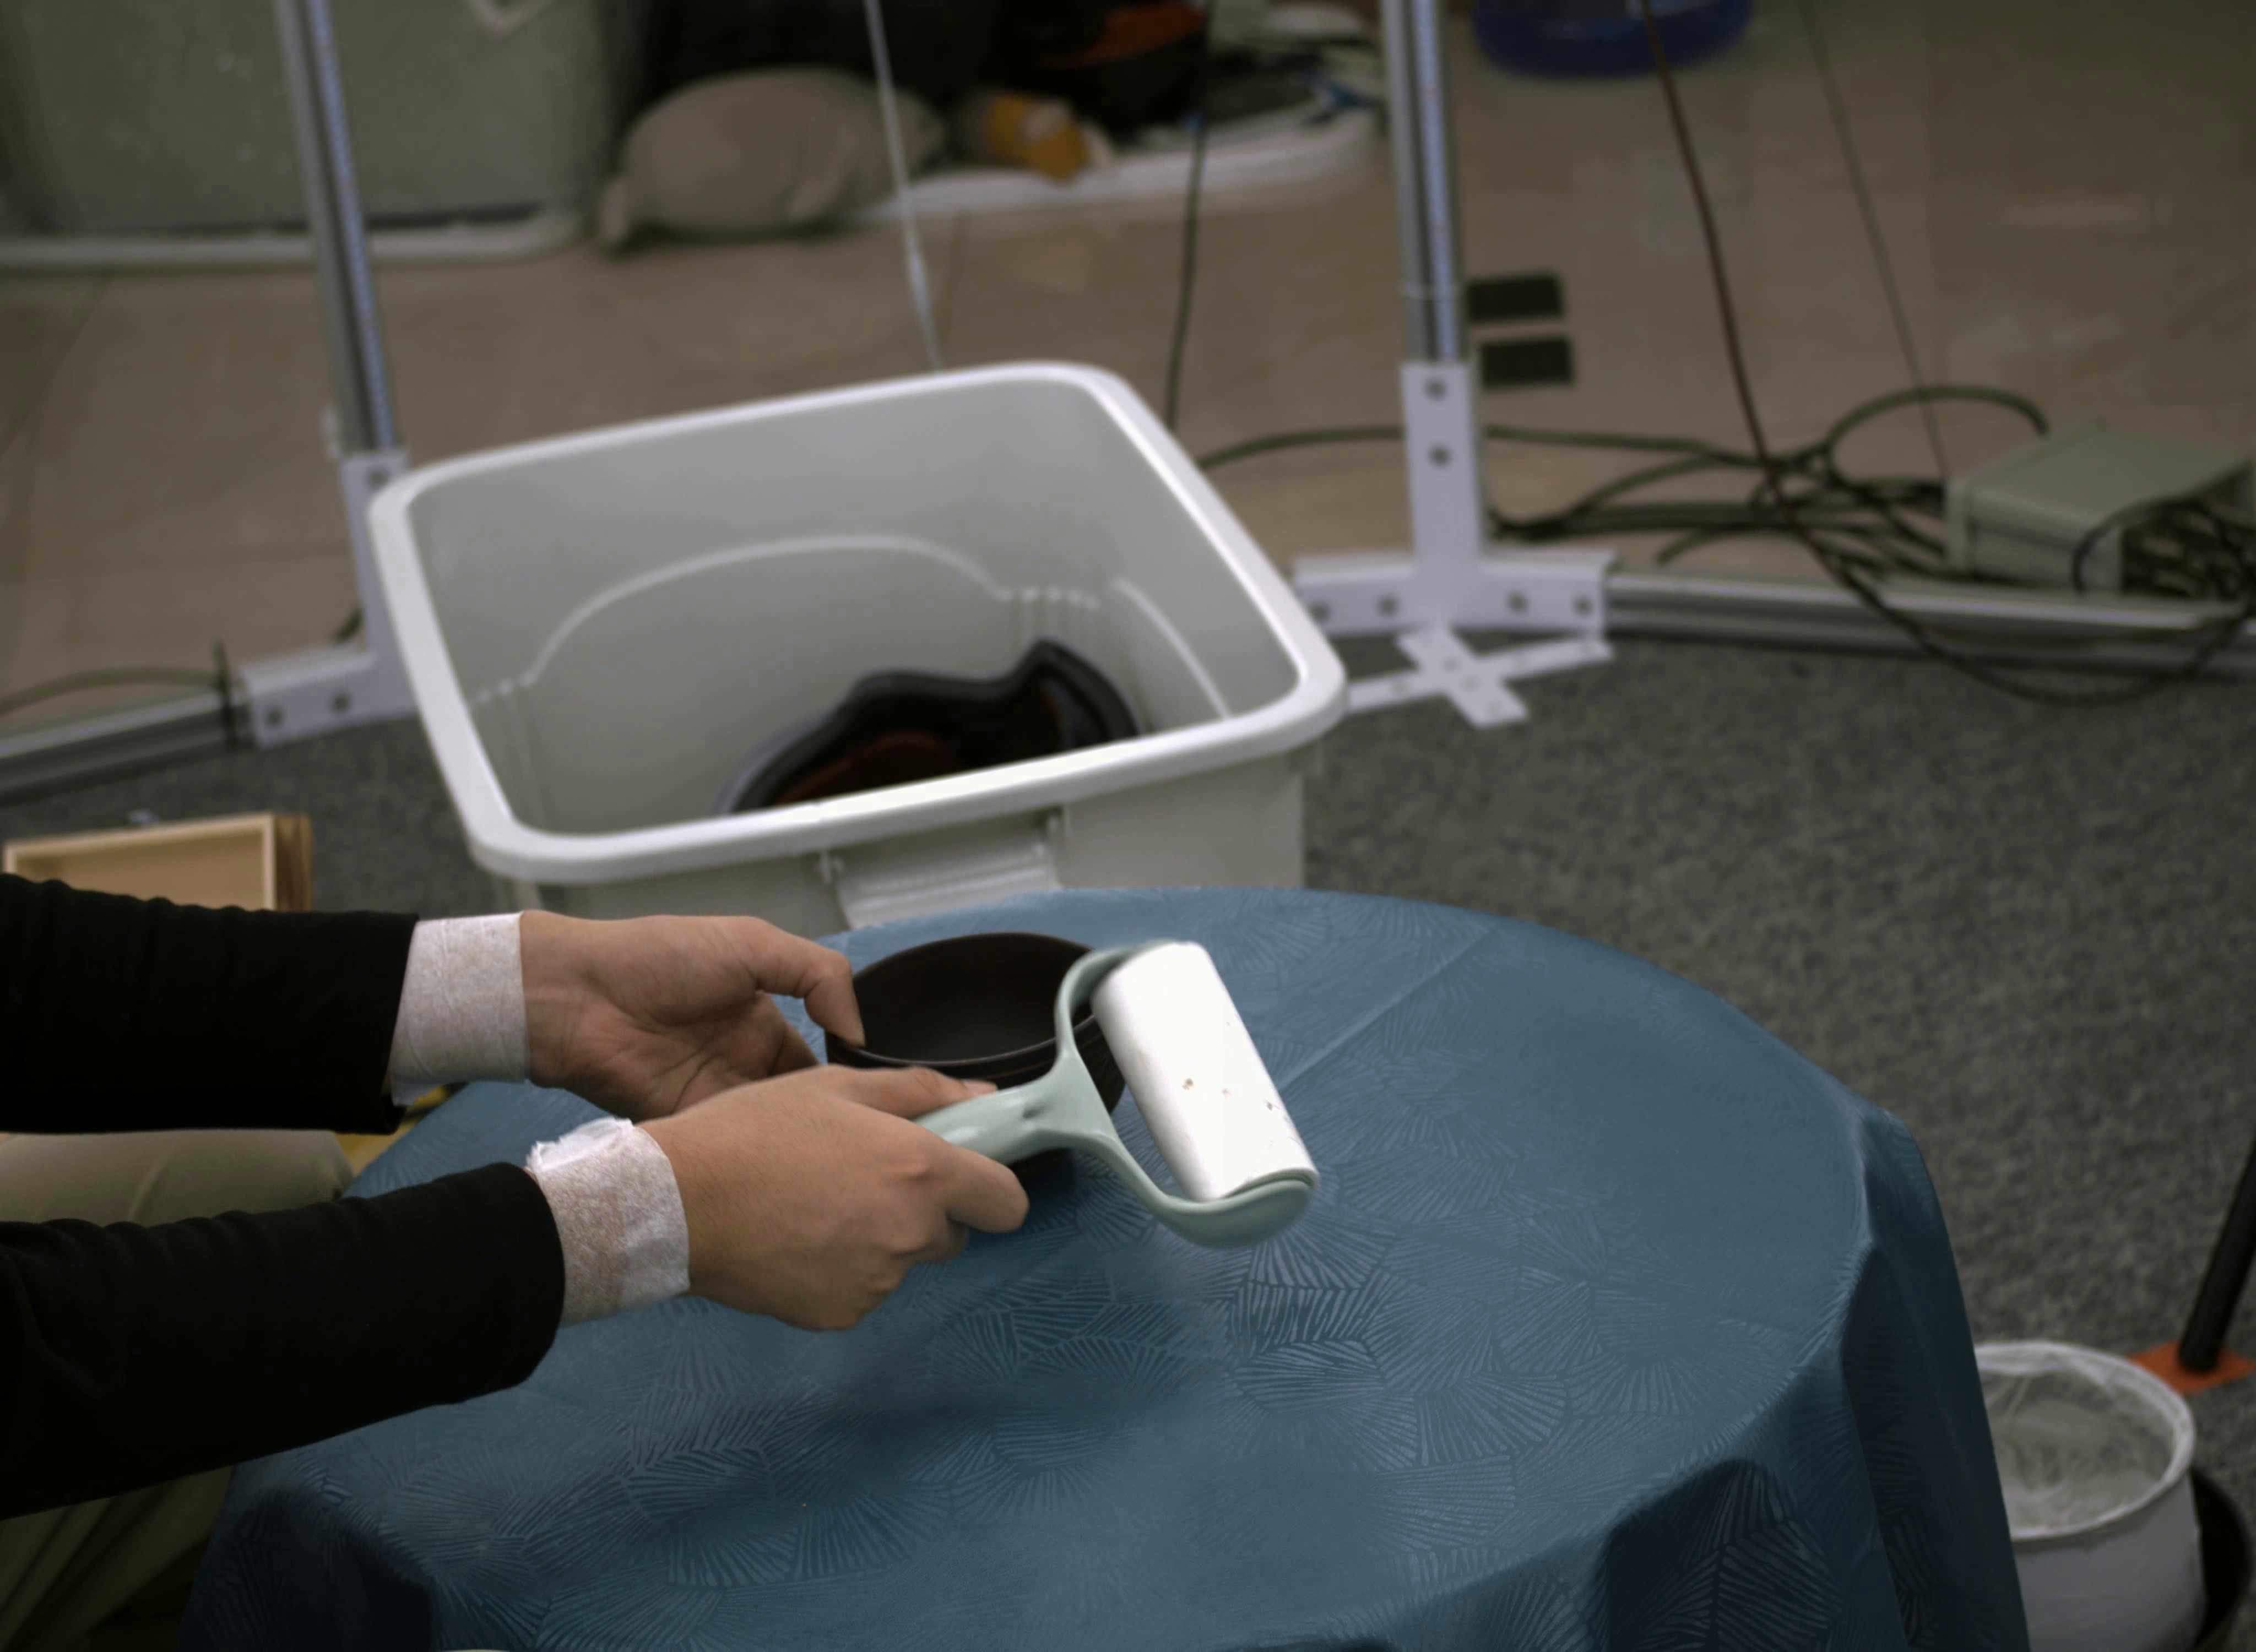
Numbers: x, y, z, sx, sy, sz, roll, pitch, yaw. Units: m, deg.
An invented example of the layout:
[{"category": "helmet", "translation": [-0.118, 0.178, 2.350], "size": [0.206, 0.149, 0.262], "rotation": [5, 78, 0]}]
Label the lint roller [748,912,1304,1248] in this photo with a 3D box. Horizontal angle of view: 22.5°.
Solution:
[{"category": "lint roller", "translation": [-0.044, 0.104, 2.027], "size": [0.197, 0.049, 0.115], "rotation": [-15, 66, -22]}]

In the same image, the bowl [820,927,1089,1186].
[{"category": "bowl", "translation": [-0.056, 0.094, 2.170], "size": [0.118, 0.071, 0.116], "rotation": [-7, 26, 4]}]
